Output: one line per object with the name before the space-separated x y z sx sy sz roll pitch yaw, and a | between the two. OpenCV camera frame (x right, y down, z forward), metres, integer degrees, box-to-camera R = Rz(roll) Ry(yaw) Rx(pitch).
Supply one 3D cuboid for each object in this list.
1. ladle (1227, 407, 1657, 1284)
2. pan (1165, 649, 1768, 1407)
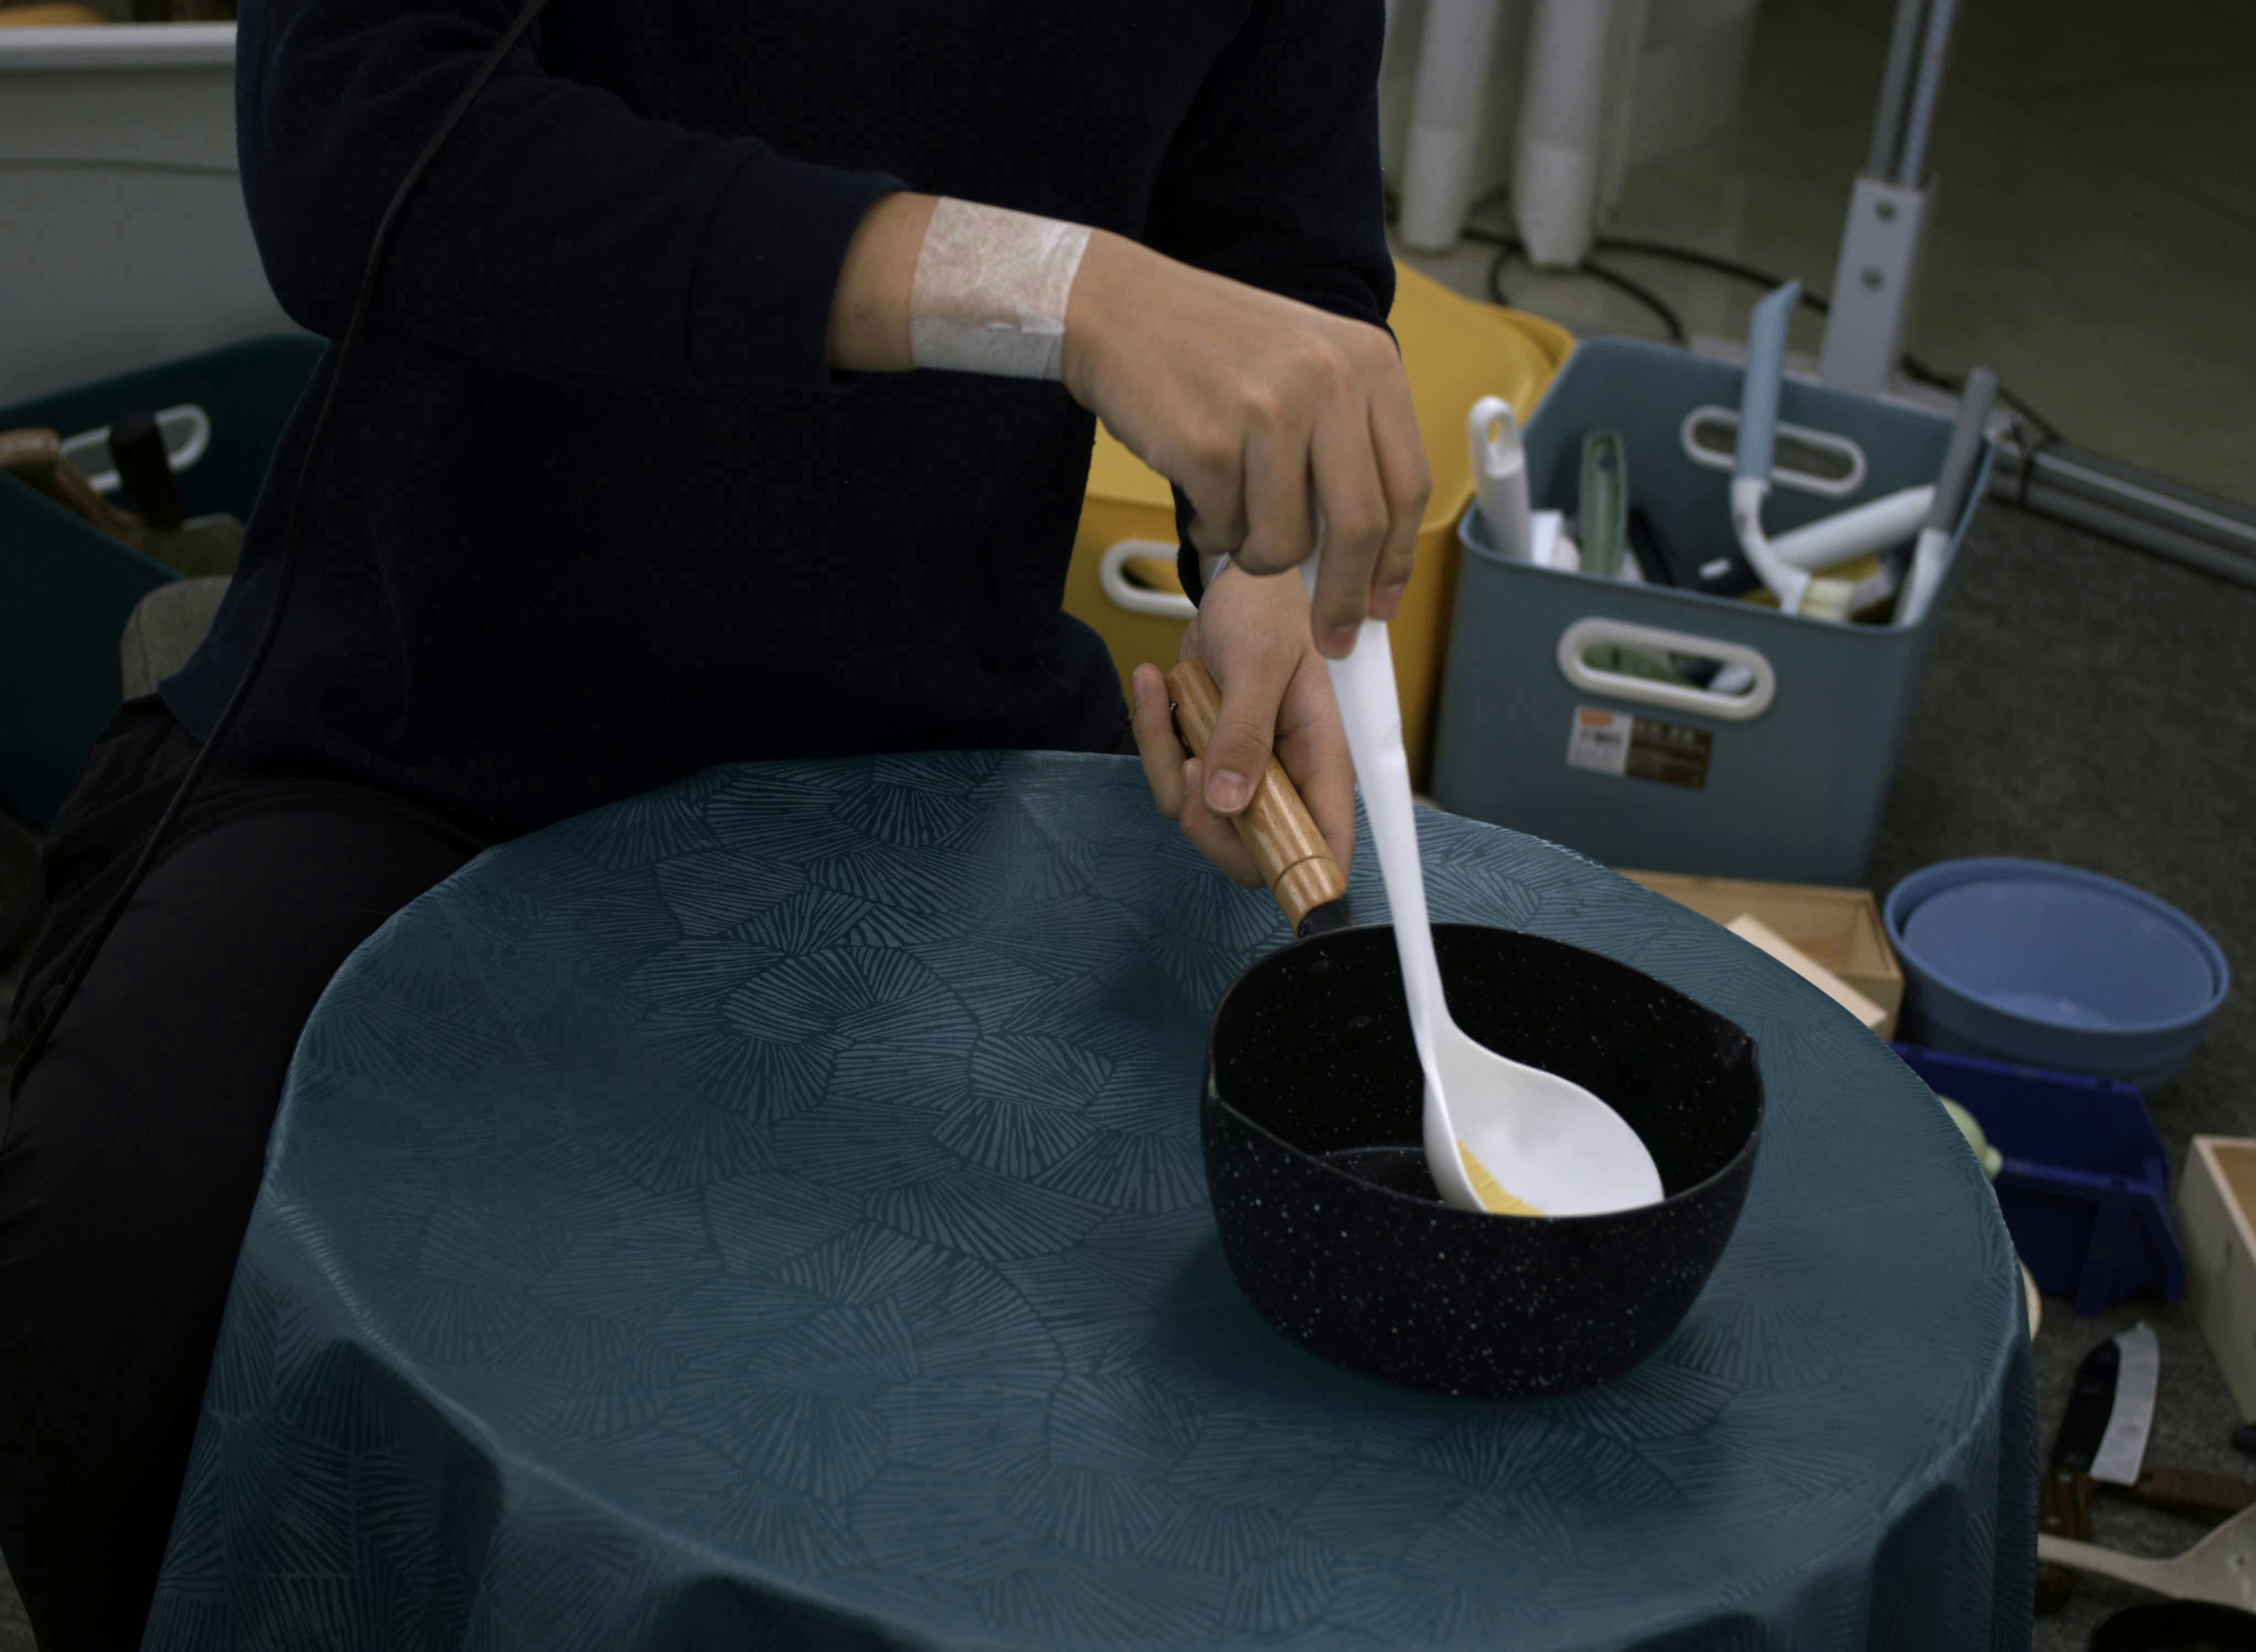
ladle | 0.097 0.008 1.691 0.070 0.292 0.090 -4 17 44
pan | 0.081 0.065 1.809 0.206 0.108 0.346 -7 33 -23
